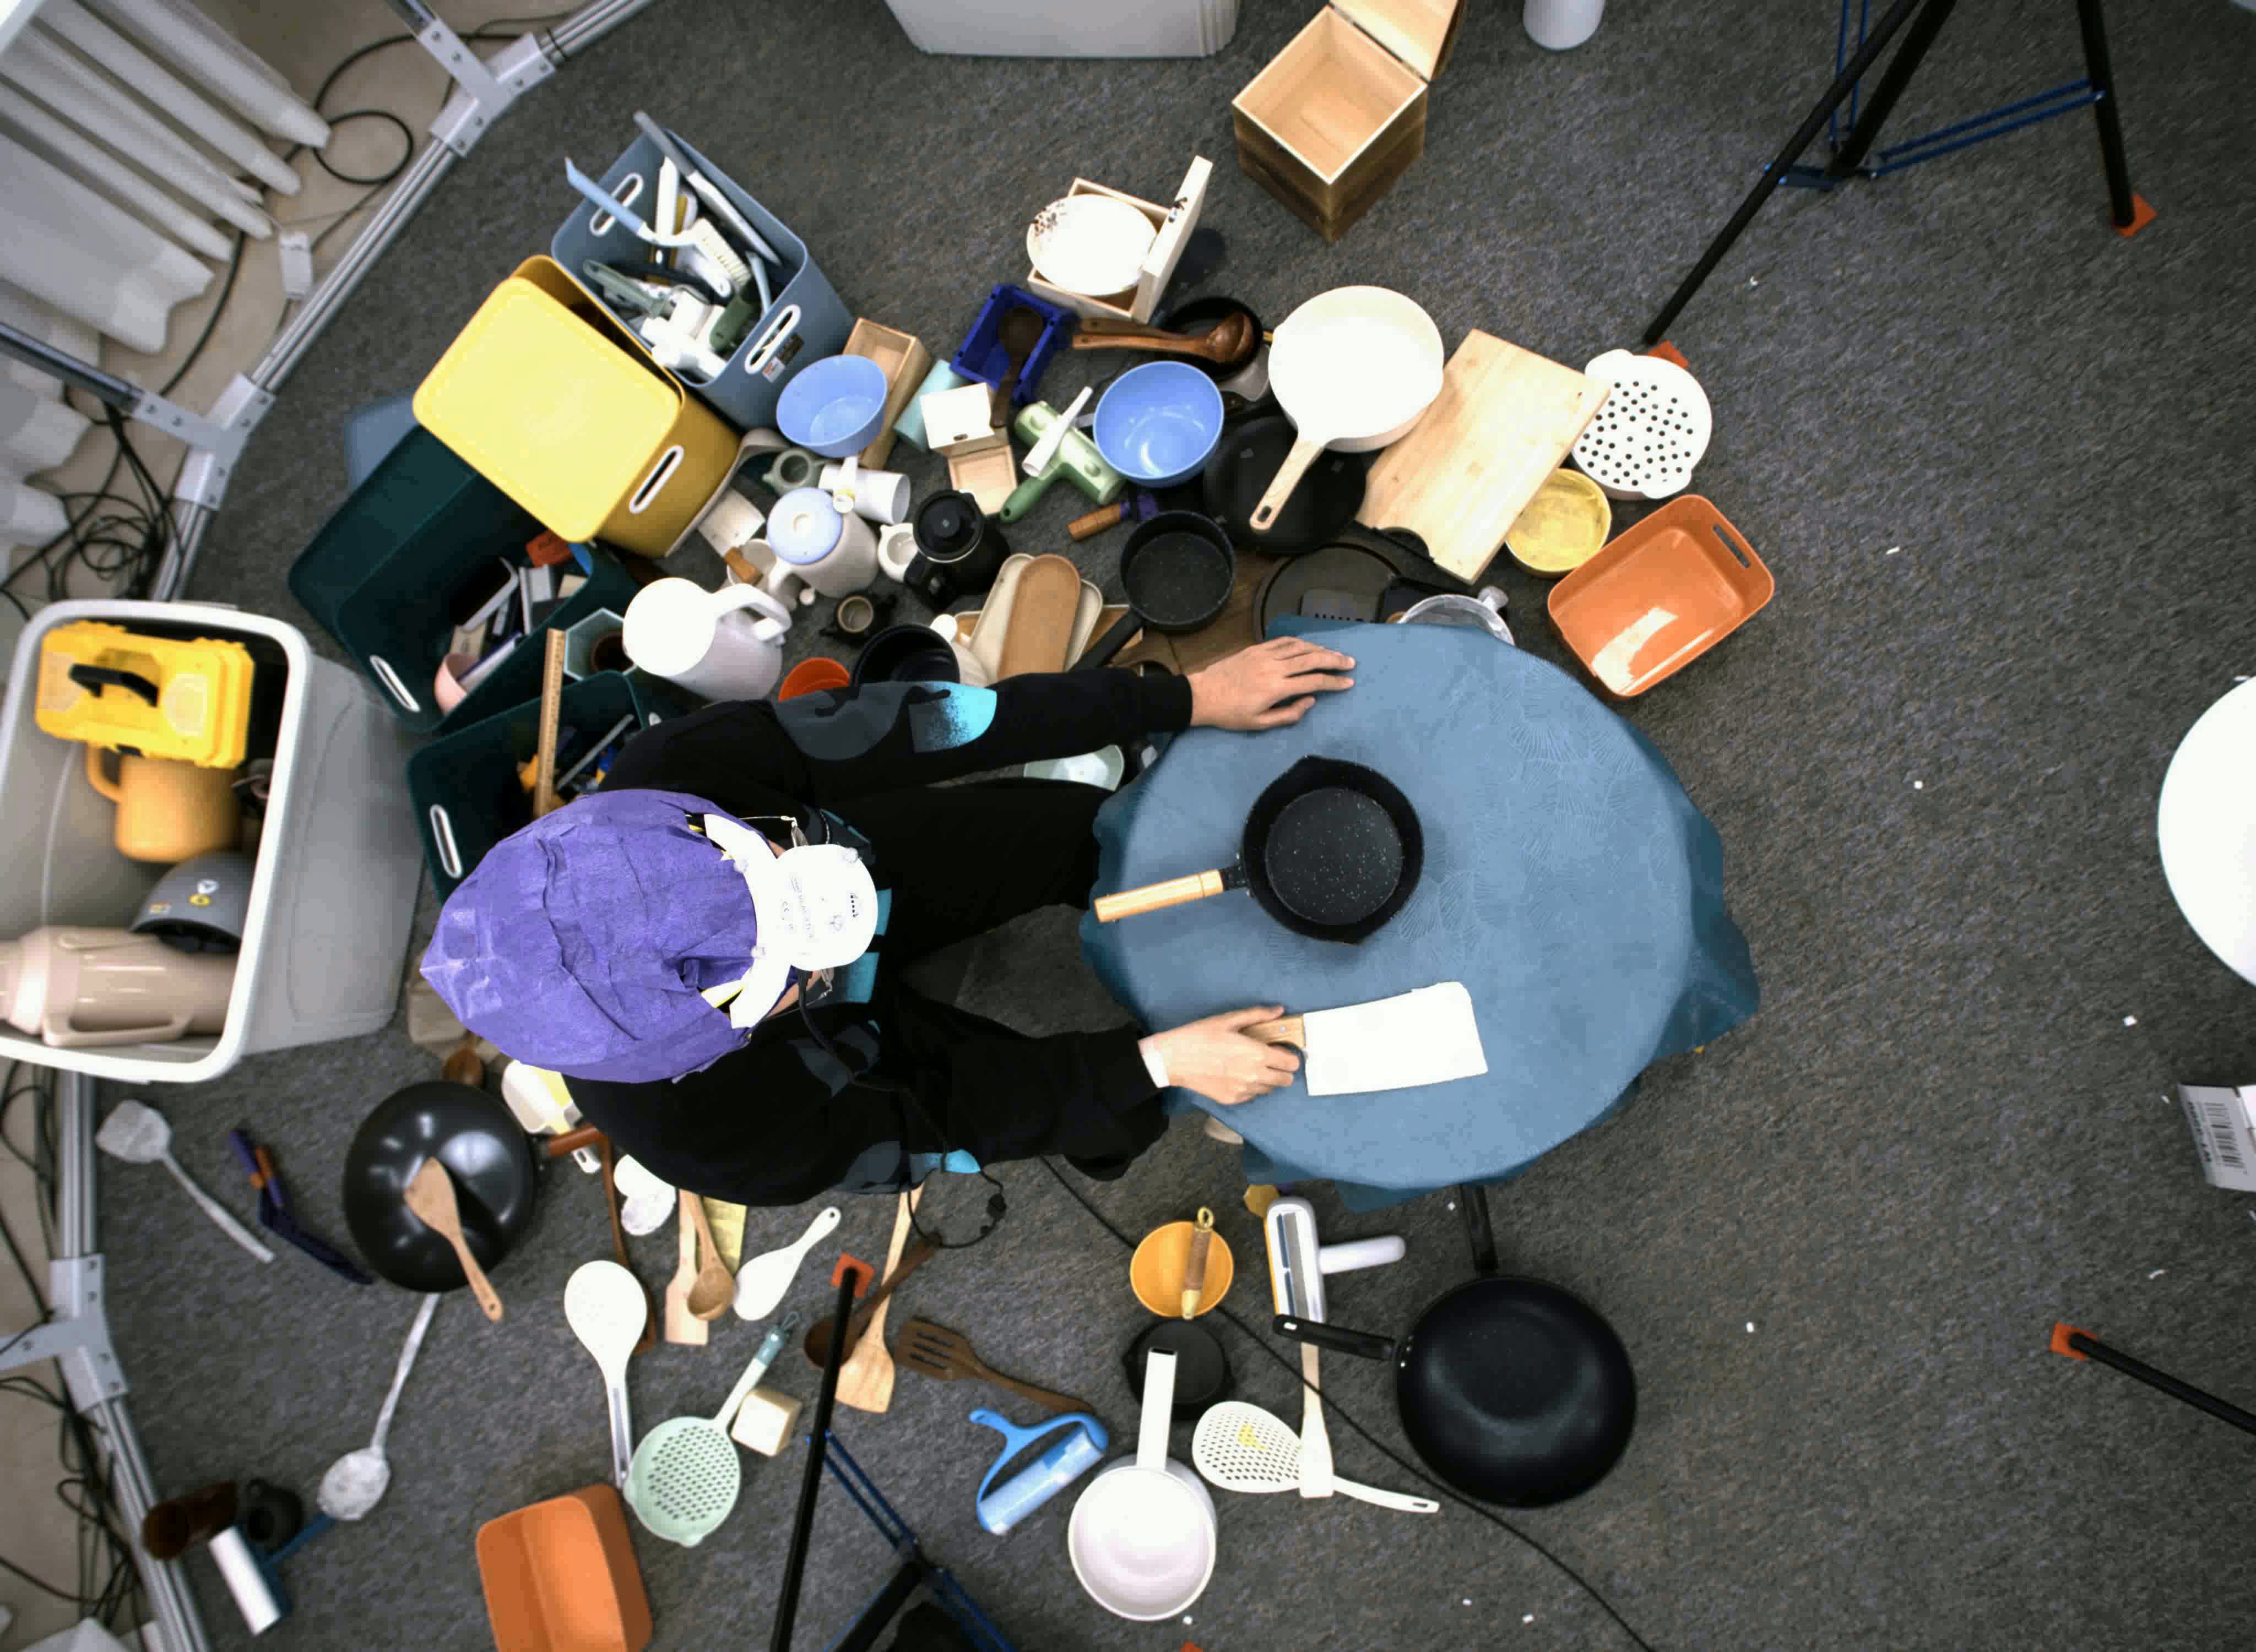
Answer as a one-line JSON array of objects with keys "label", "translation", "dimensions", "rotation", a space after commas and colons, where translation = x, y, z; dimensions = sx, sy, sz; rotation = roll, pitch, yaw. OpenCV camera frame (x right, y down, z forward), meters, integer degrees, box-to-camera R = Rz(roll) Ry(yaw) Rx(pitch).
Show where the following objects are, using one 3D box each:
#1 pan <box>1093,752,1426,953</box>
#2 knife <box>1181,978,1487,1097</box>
[{"label": "pan", "translation": [0.135, 0.049, 1.431], "dimensions": [0.344, 0.108, 0.206], "rotation": [-17, 84, 8]}, {"label": "knife", "translation": [0.213, 0.225, 1.453], "dimensions": [0.316, 0.022, 0.113], "rotation": [-6, 86, 7]}]
